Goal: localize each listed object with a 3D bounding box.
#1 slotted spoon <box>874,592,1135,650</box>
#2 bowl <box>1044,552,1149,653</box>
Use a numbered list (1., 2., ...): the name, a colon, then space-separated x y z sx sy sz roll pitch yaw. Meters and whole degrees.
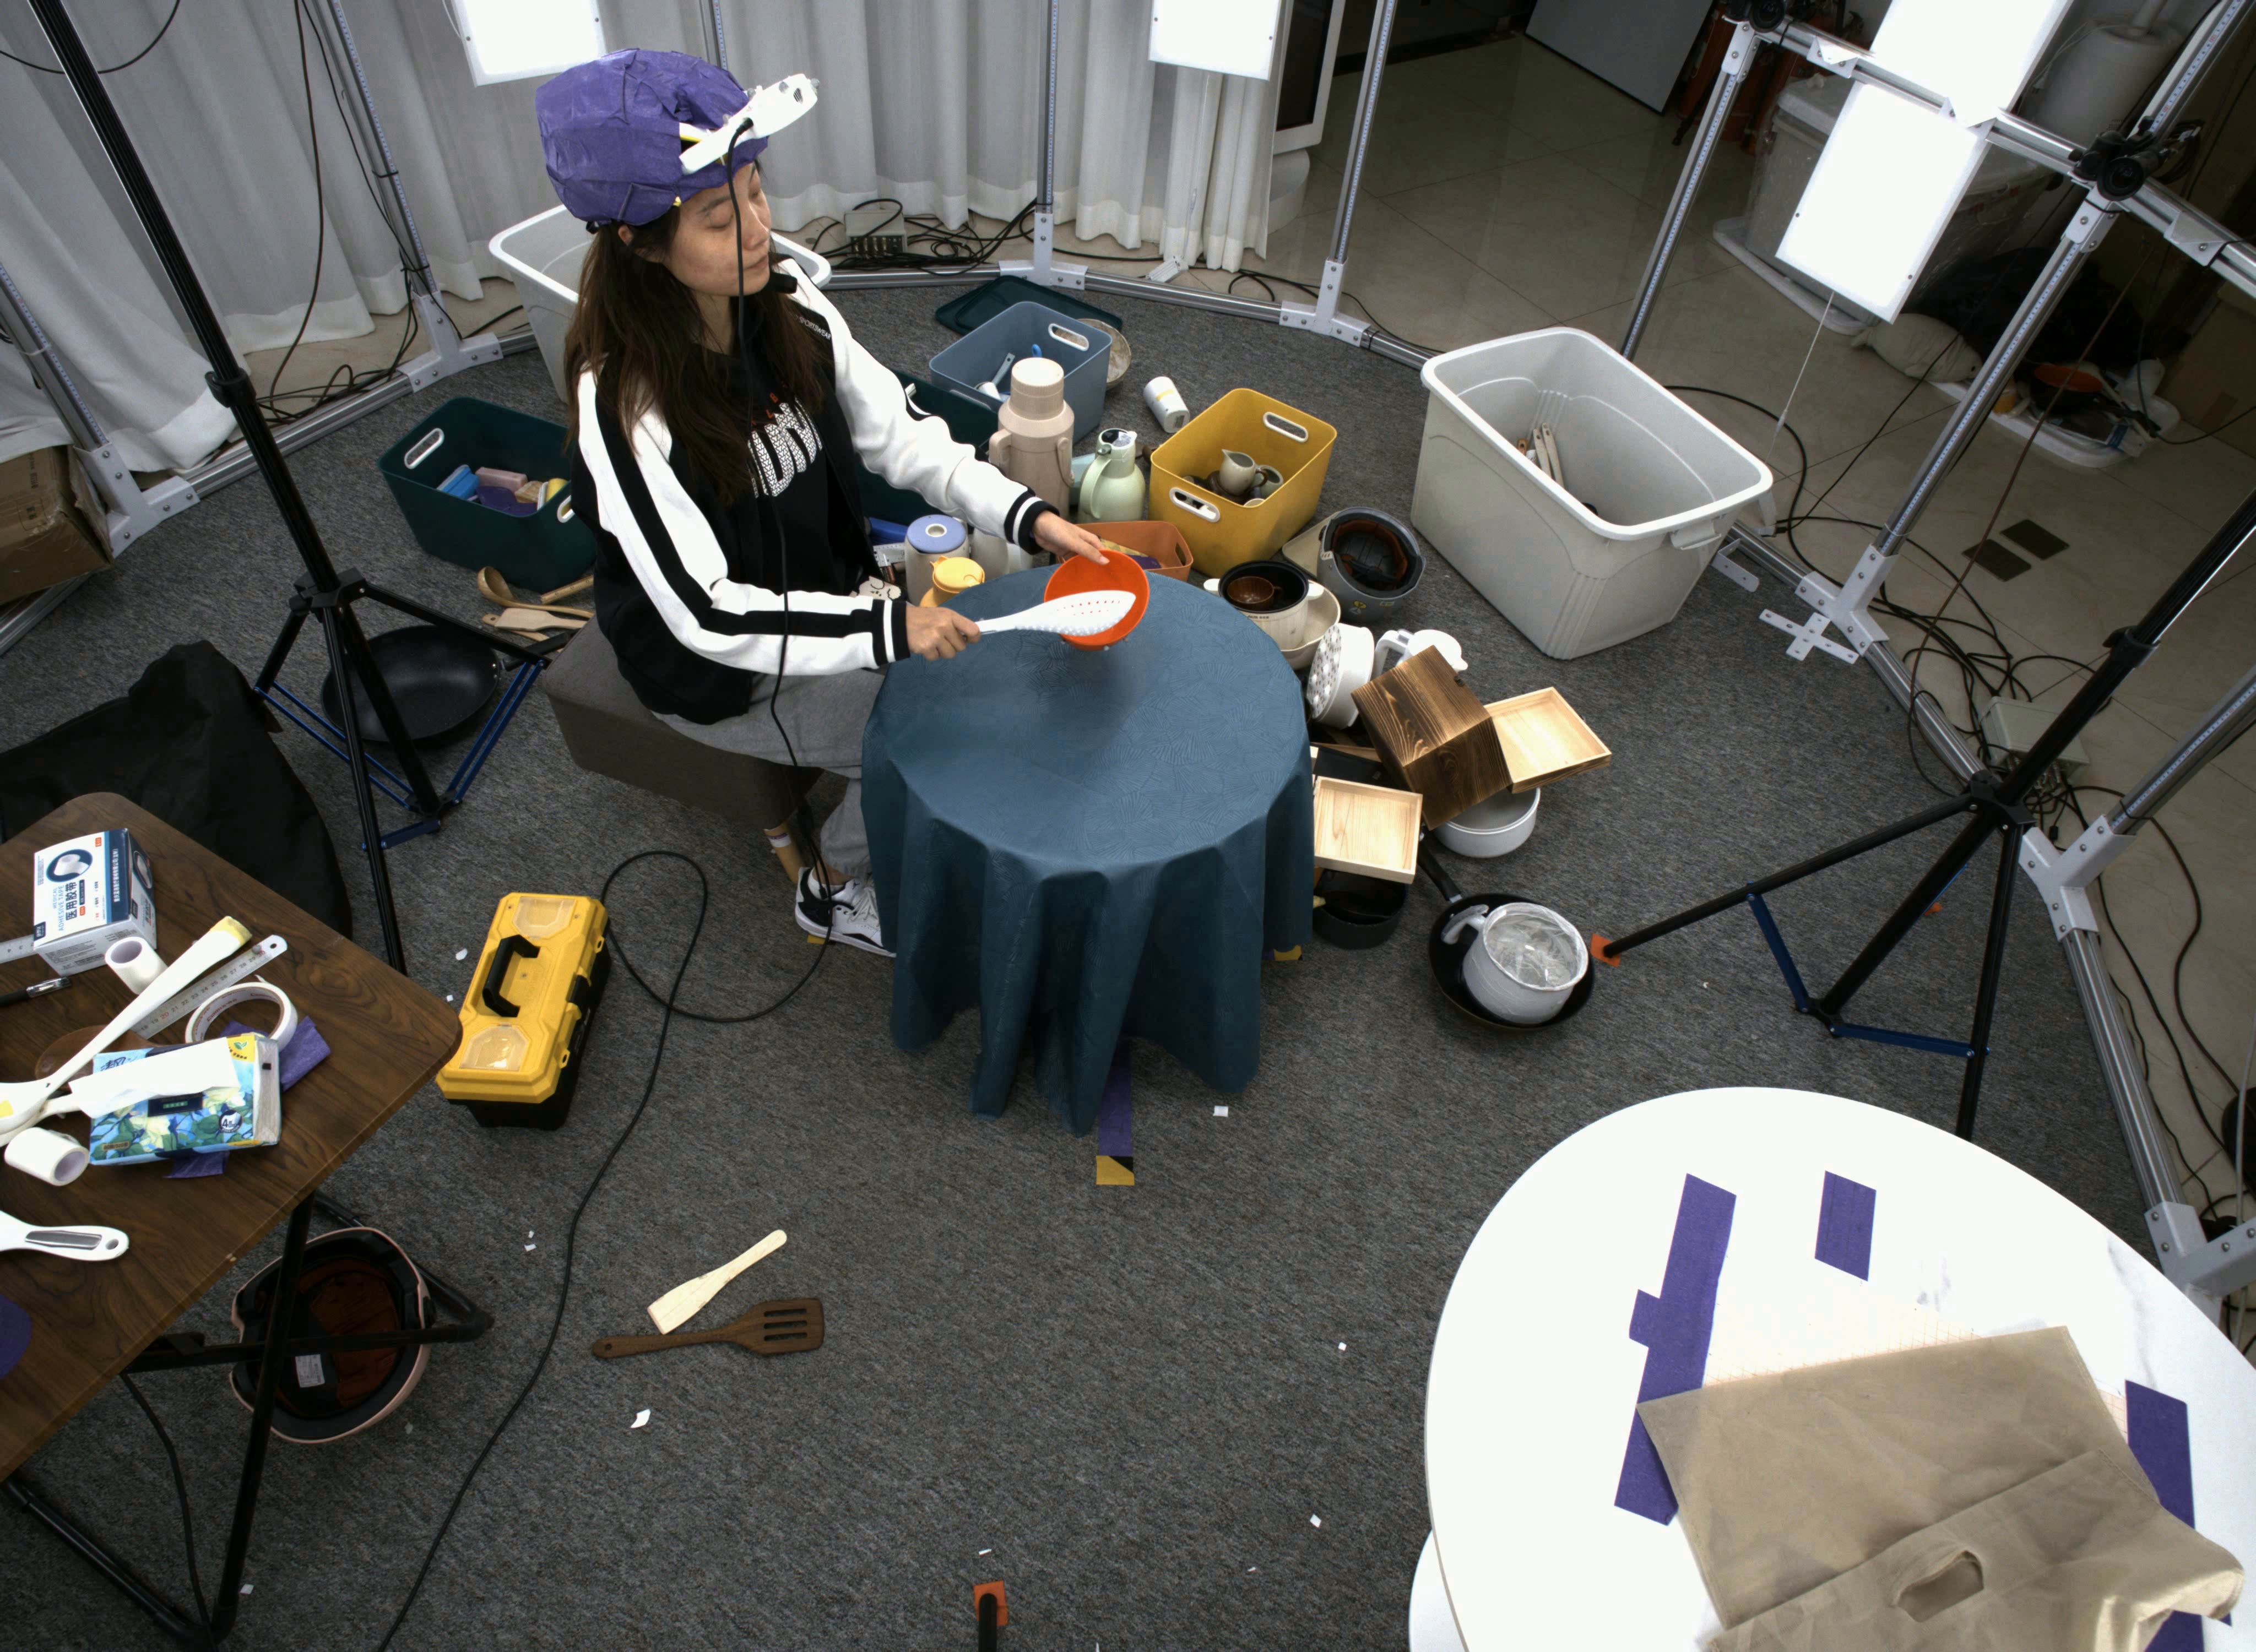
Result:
1. slotted spoon: -0.164 -0.268 1.705 0.350 0.135 0.046 -3 88 6
2. bowl: -0.043 -0.303 1.831 0.148 0.103 0.150 0 69 1
